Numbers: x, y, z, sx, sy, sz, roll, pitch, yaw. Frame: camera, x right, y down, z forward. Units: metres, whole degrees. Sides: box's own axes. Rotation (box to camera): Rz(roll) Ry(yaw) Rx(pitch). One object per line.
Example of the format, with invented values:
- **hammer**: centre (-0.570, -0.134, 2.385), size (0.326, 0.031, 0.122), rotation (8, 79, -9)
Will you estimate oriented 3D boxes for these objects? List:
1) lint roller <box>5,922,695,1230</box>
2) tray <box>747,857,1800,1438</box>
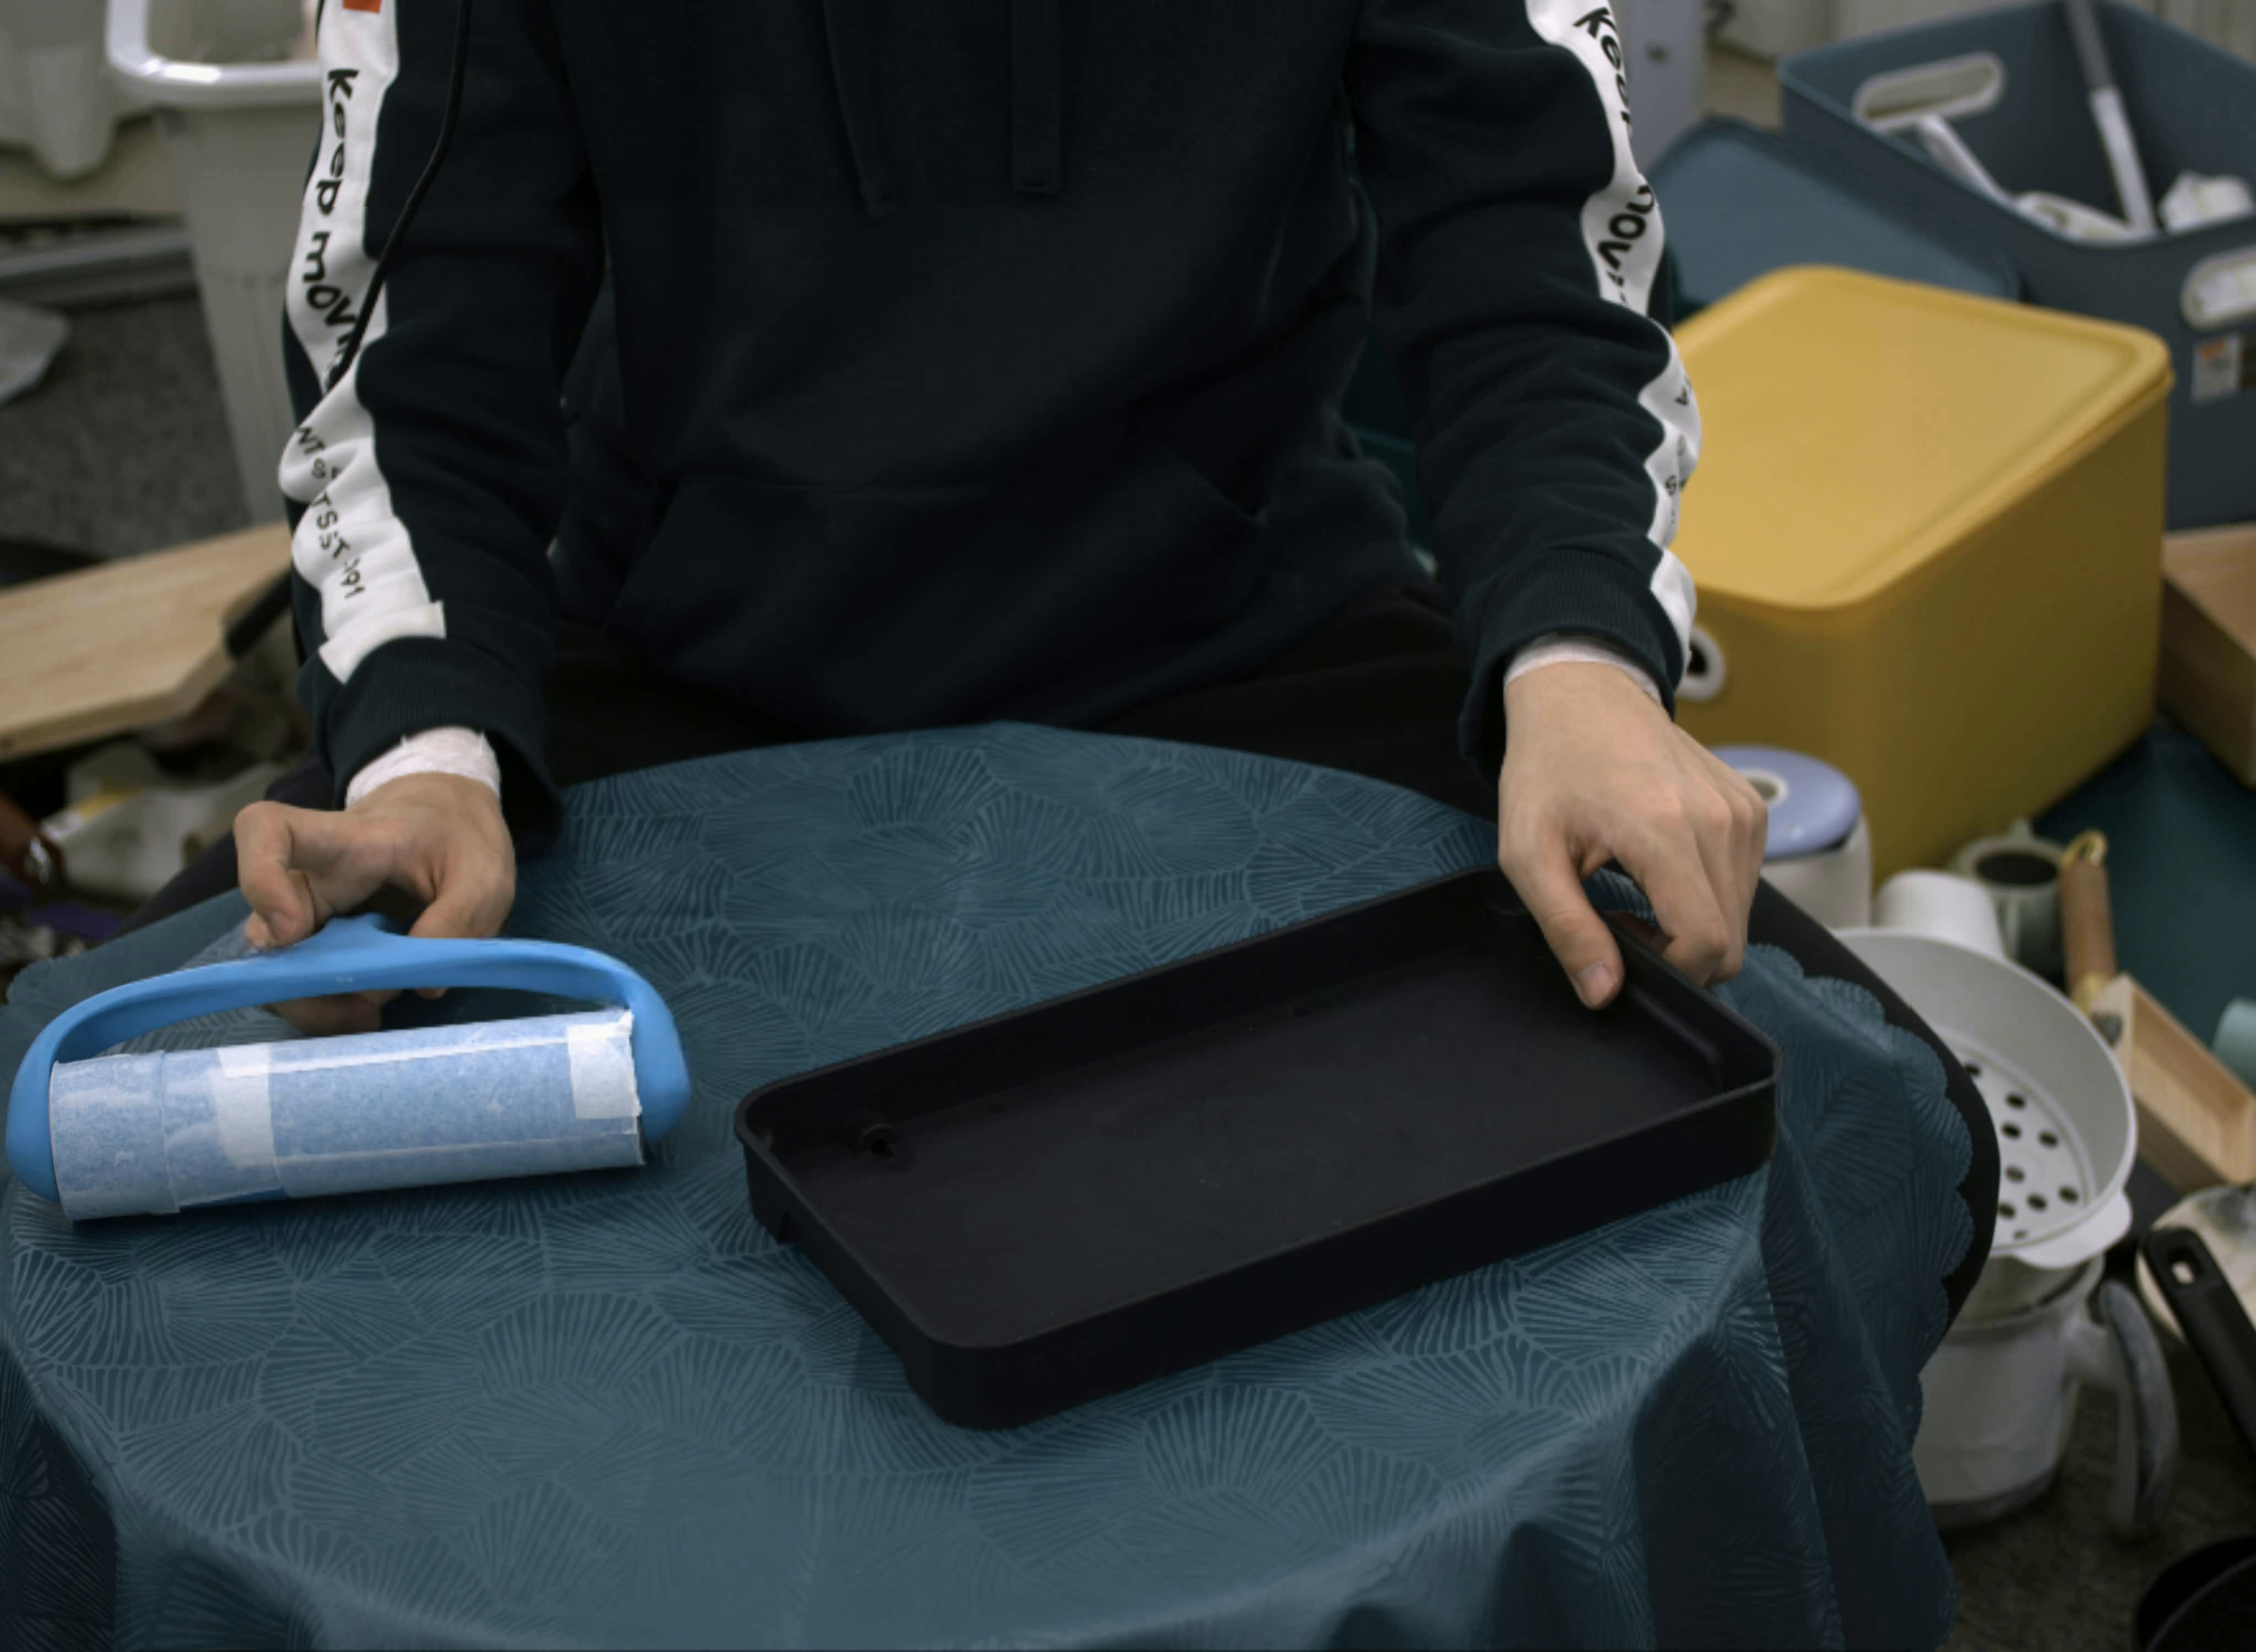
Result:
- **lint roller**: centre (-0.267, 0.069, 1.927), size (0.228, 0.067, 0.182), rotation (-8, 29, -6)
- **tray**: centre (0.049, 0.101, 1.859), size (0.320, 0.036, 0.185), rotation (-18, 31, -25)
